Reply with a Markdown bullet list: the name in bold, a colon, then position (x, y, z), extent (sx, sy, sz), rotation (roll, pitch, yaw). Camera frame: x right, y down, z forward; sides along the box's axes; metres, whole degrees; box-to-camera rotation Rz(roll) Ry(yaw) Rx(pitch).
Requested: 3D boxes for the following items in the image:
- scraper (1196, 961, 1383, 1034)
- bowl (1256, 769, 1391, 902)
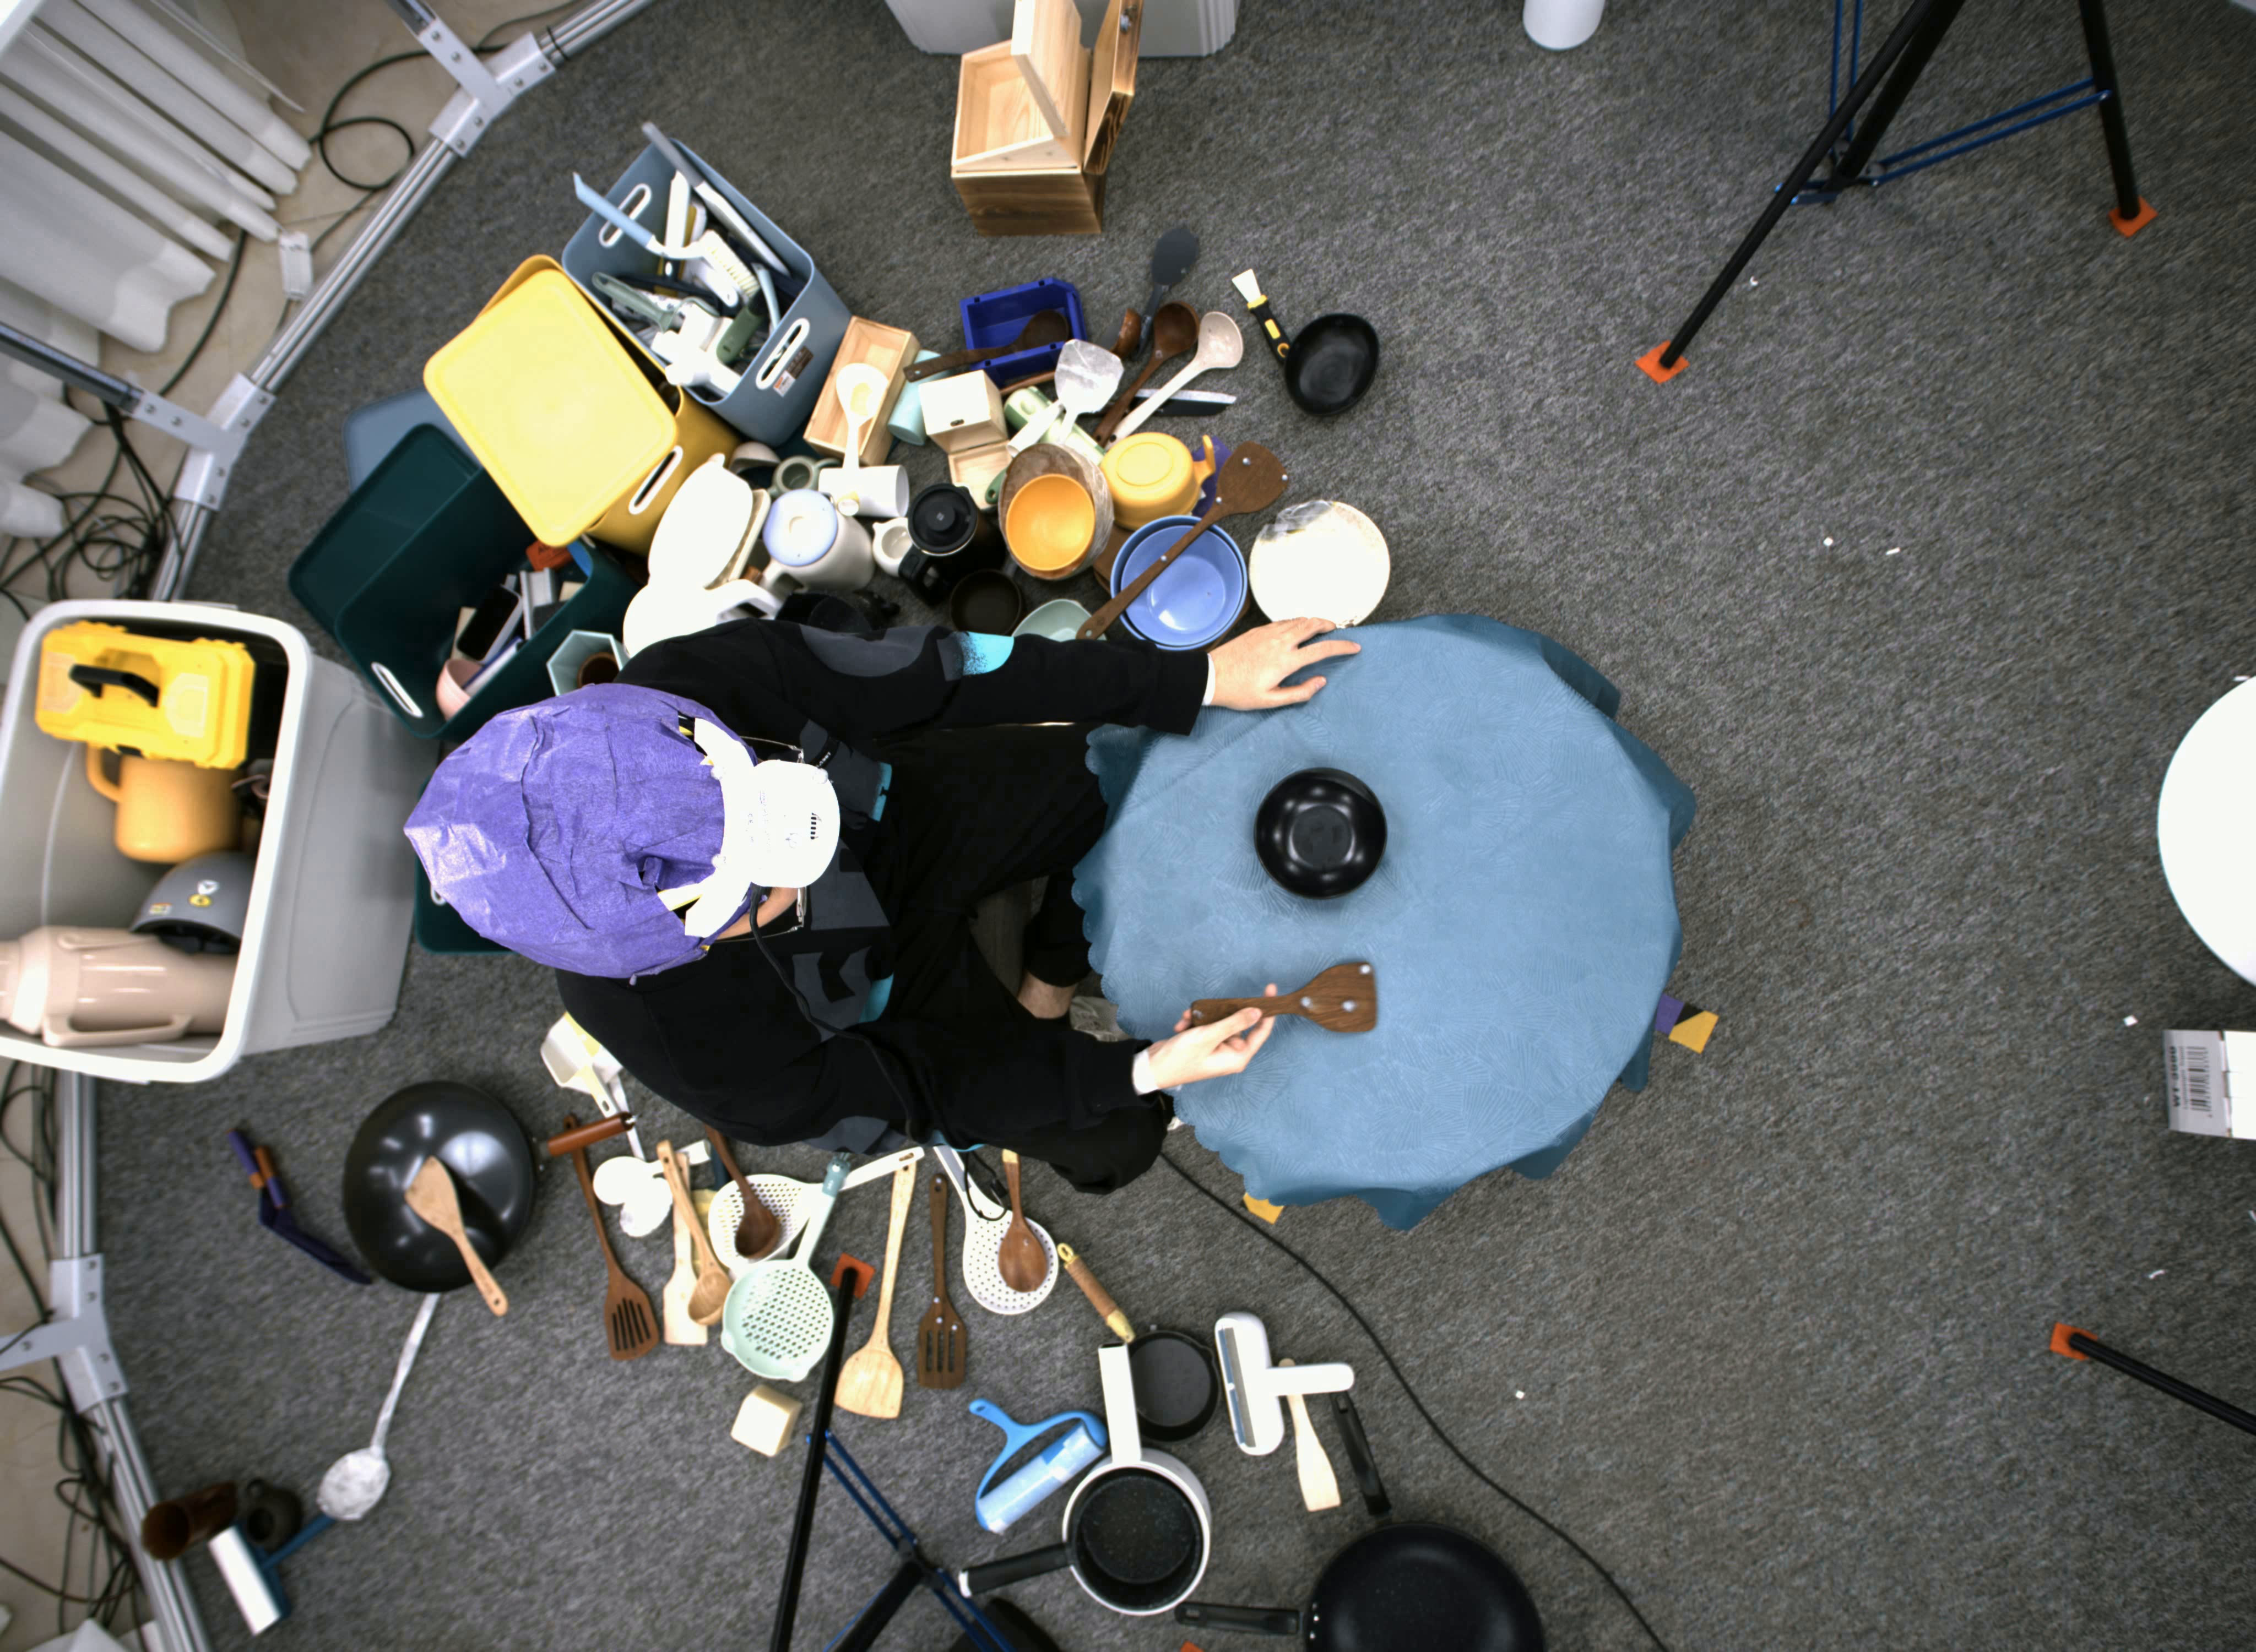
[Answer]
- **scraper**: position (0.167, 0.182, 1.420), extent (0.210, 0.011, 0.076), rotation (-3, 91, -19)
- **bowl**: position (0.206, 0.010, 1.456), extent (0.140, 0.050, 0.139), rotation (0, 88, 10)
